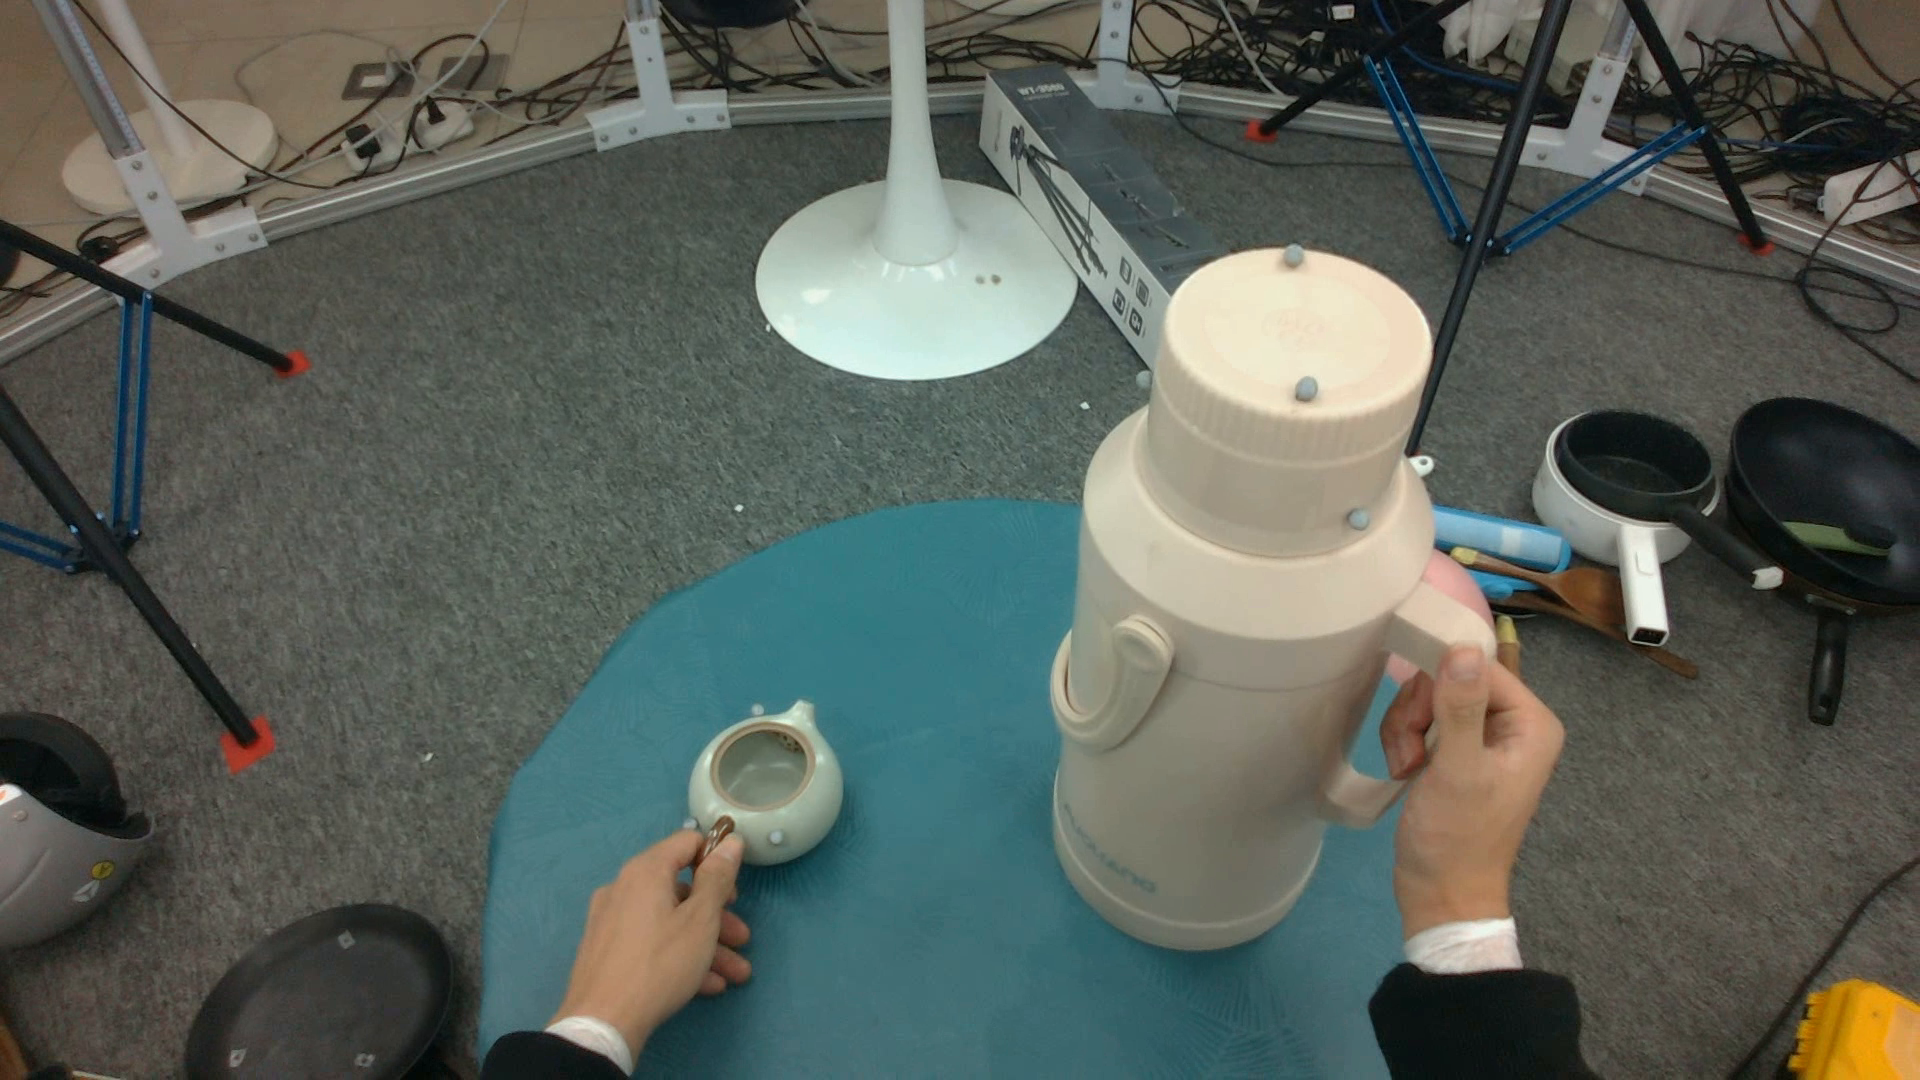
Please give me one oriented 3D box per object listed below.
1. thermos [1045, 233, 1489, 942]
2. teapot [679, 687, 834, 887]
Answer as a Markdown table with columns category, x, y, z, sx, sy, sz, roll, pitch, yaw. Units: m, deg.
| category | x | y | z | sx | sy | sz | roll | pitch | yaw |
| --- | --- | --- | --- | --- | --- | --- | --- | --- | --- |
| thermos | 0.142 | 0.050 | 0.687 | 0.207 | 0.404 | 0.176 | 31 | 55 | 25 |
| teapot | -0.125 | 0.149 | 0.820 | 0.092 | 0.059 | 0.129 | 21 | 51 | 12 |
